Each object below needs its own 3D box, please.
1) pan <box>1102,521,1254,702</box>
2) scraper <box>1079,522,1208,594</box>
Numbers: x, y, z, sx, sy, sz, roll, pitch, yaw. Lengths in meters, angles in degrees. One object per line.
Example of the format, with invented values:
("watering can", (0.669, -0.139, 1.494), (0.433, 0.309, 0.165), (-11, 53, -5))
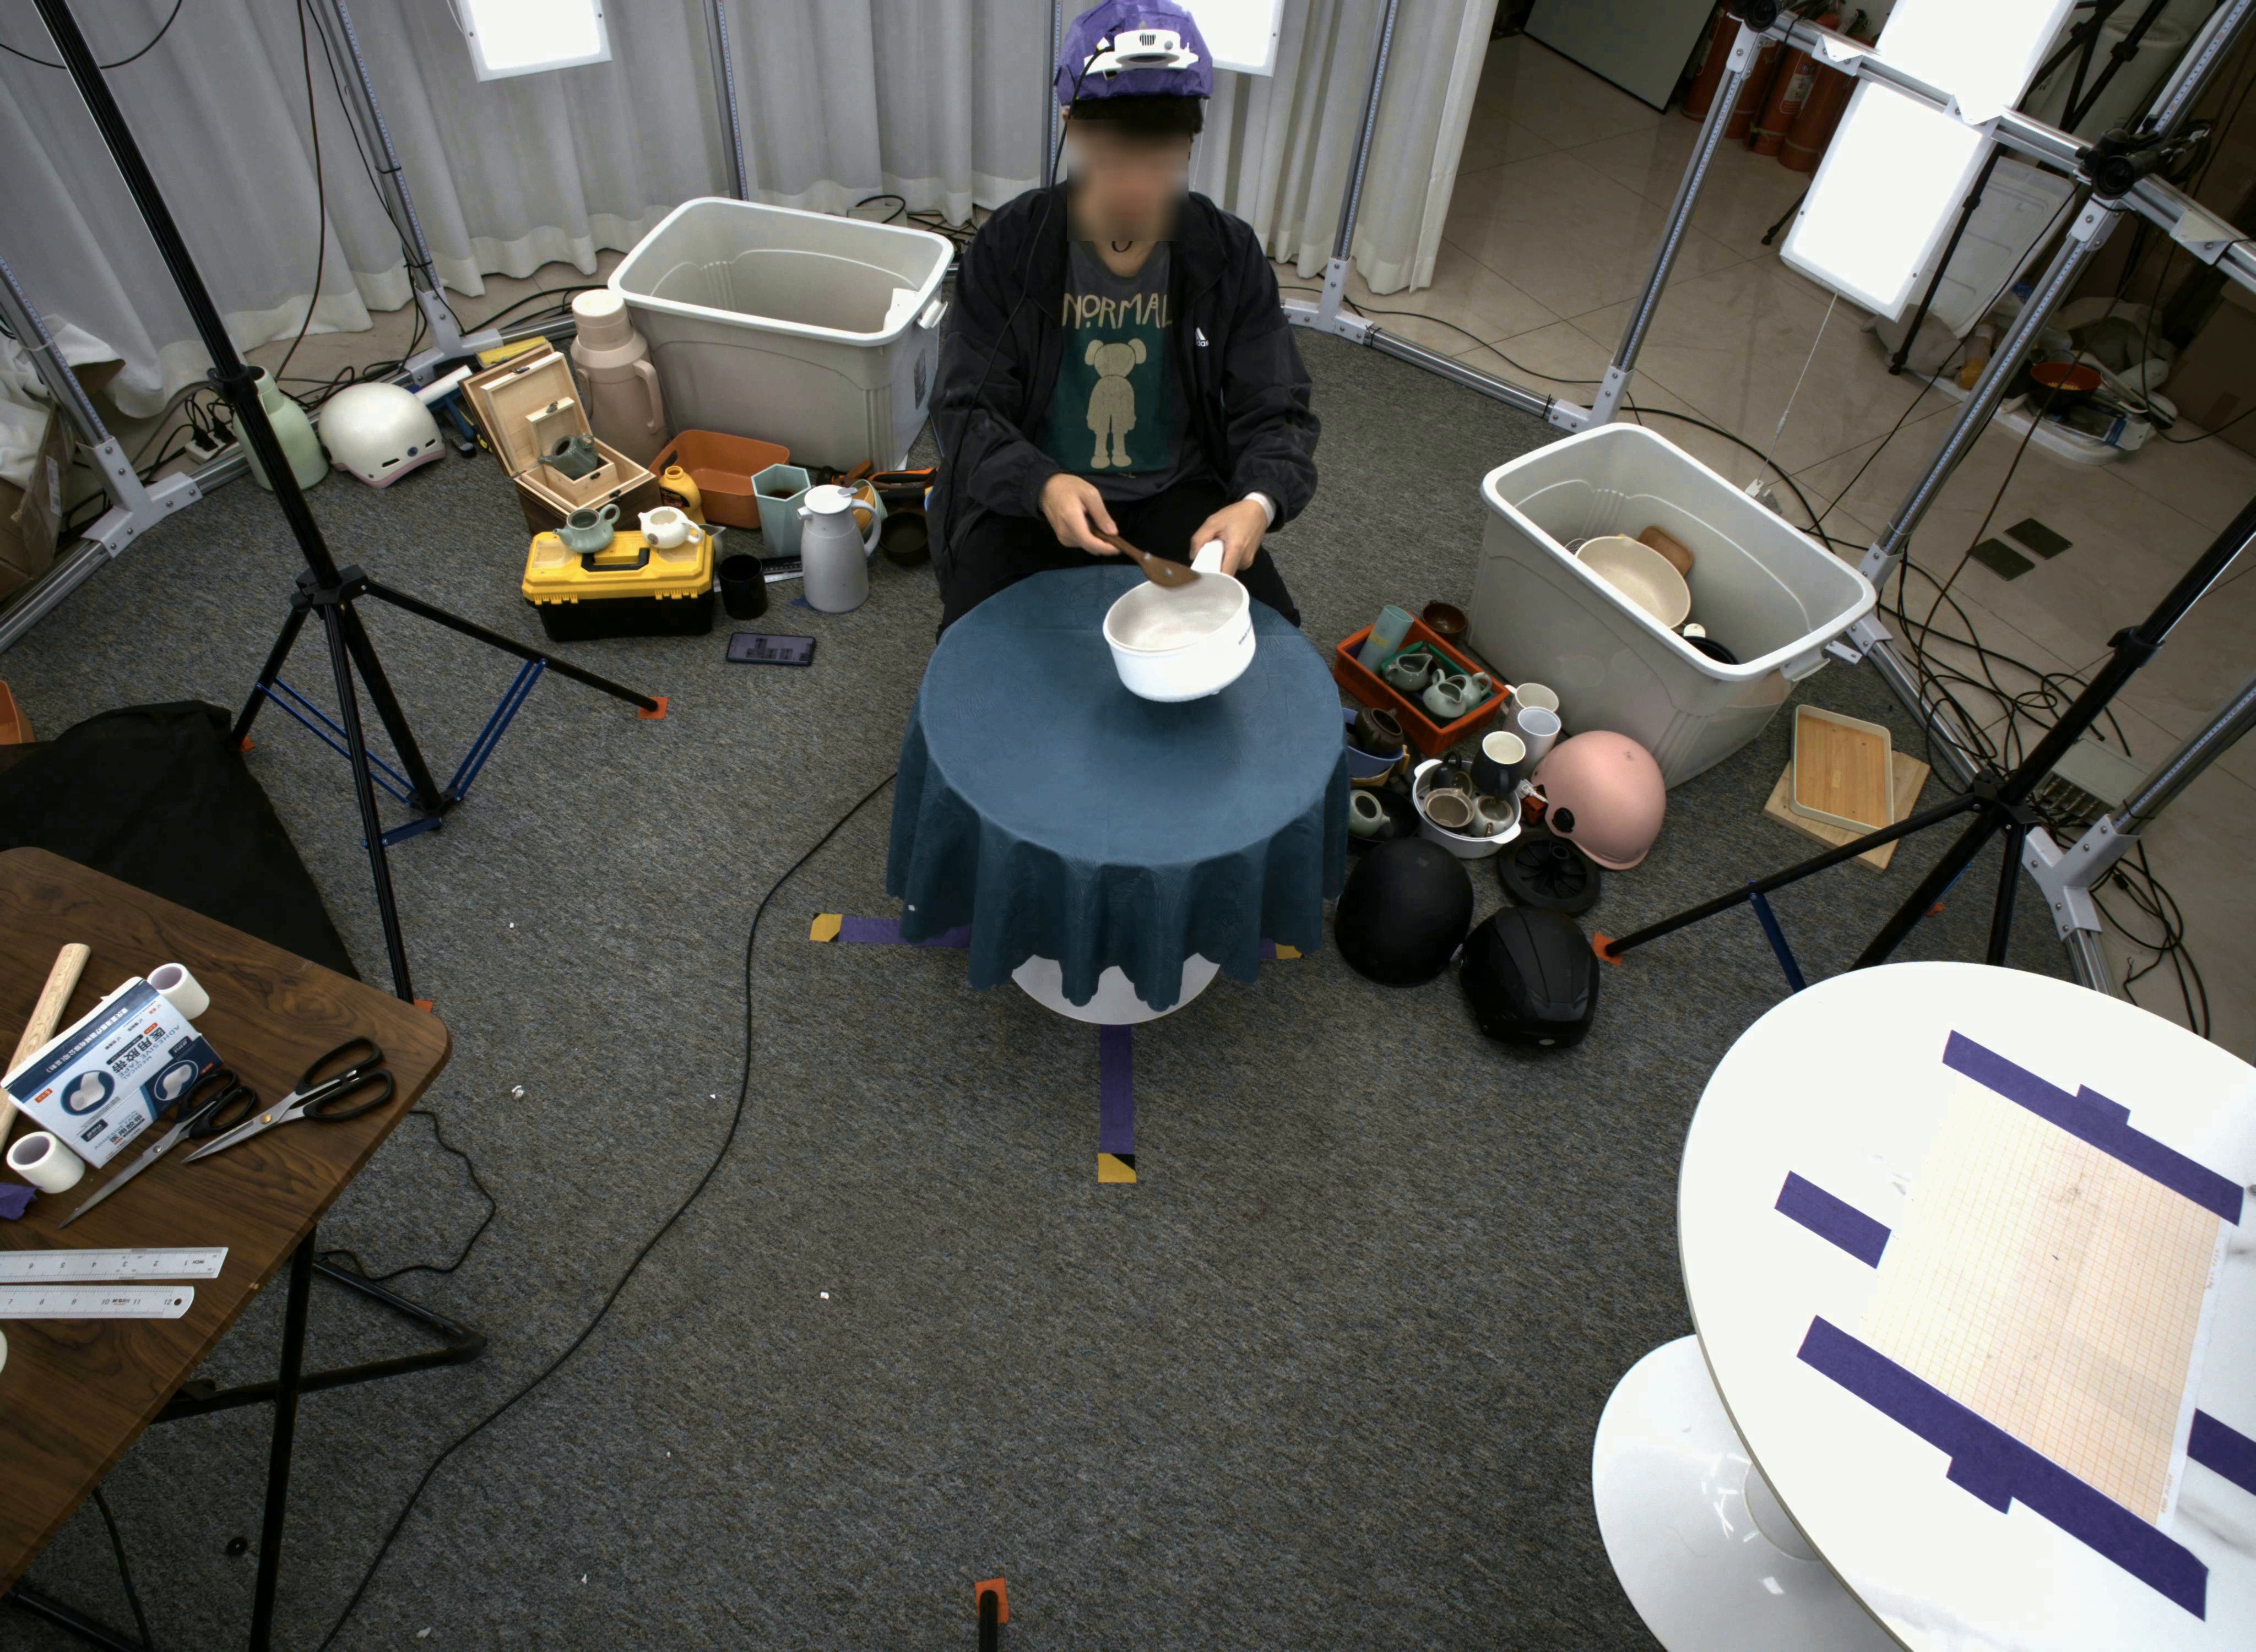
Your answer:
("pan", (0.099, -0.304, 1.815), (0.202, 0.100, 0.362), (1, 39, 25))
("scraper", (0.013, -0.367, 1.754), (0.214, 0.010, 0.076), (37, 44, 29))
